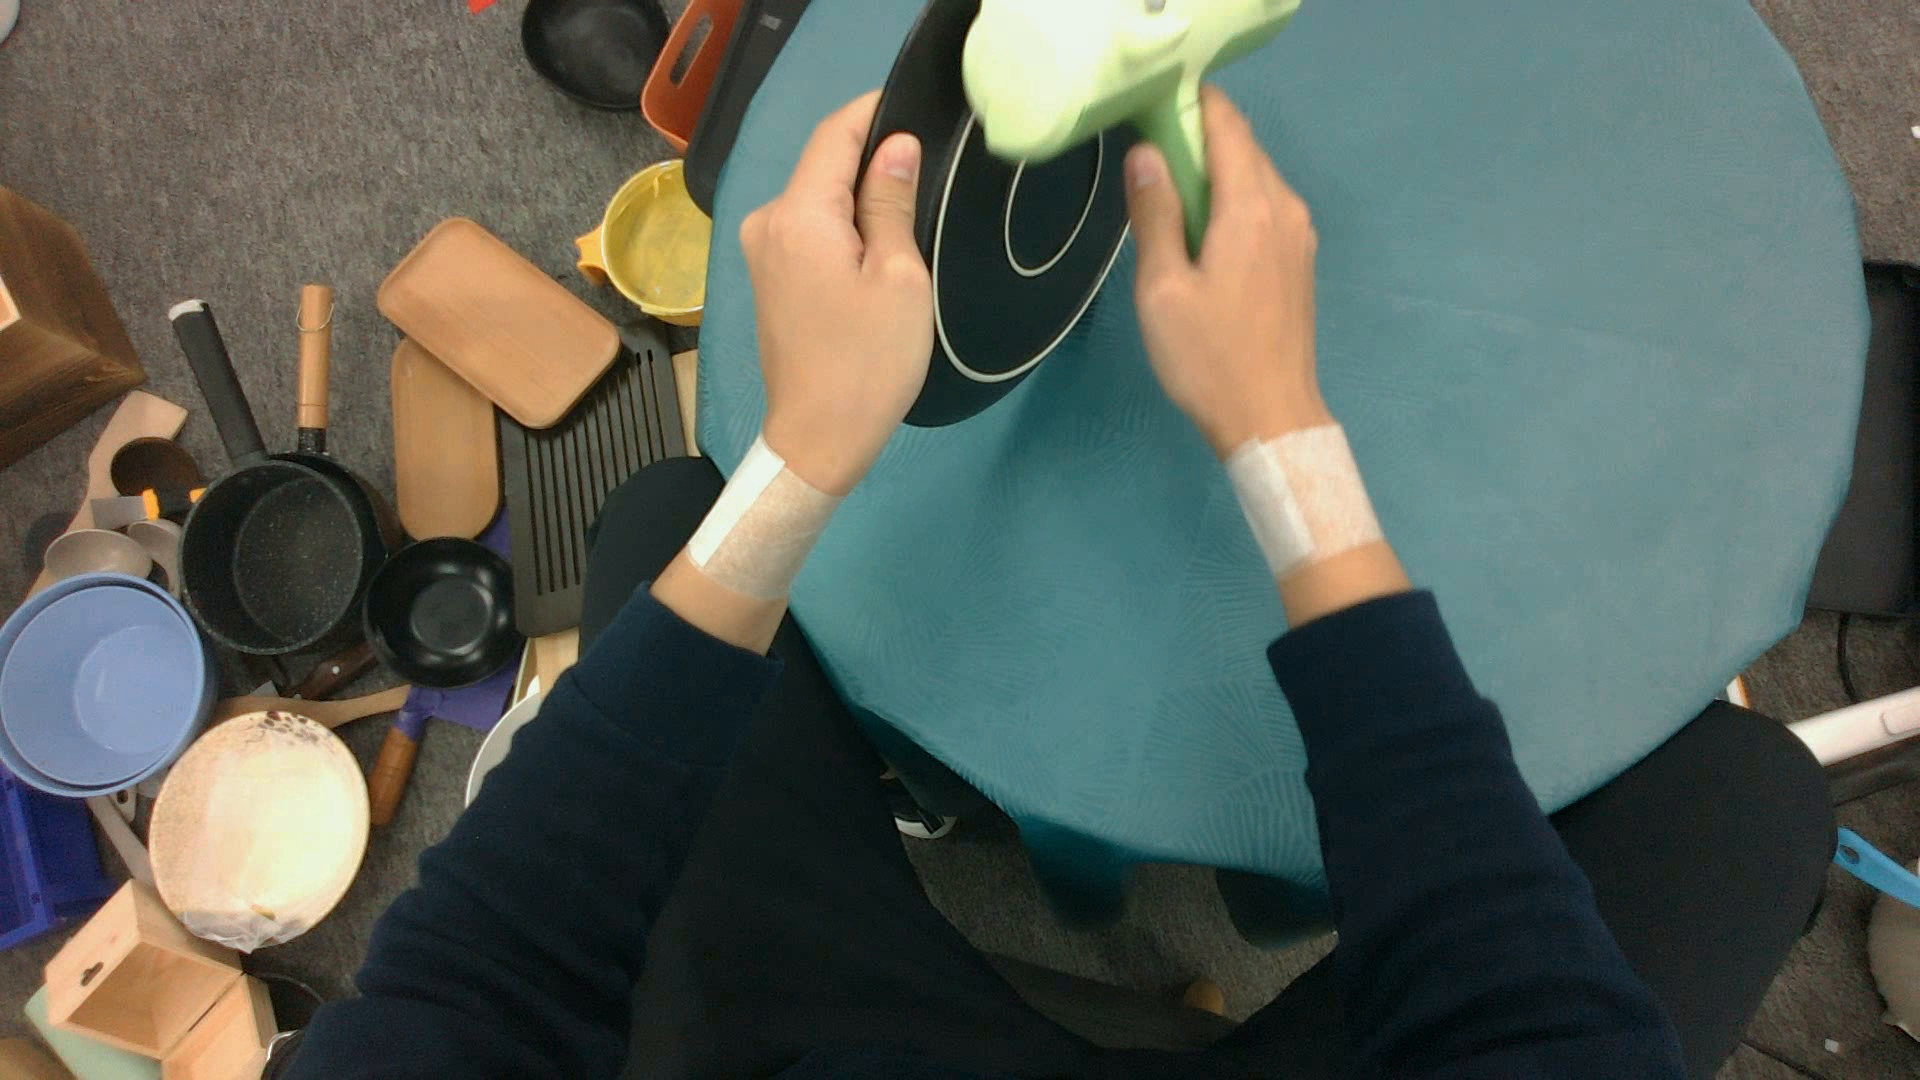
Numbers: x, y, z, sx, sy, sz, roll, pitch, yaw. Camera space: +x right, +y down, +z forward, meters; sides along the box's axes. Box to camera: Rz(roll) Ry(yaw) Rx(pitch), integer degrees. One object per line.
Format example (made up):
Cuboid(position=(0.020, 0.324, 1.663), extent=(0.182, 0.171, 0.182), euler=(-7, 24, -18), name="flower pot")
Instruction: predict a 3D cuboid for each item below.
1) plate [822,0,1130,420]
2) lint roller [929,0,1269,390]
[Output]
Cuboid(position=(0.023, -0.164, 0.616), extent=(0.023, 0.244, 0.245), euler=(25, 81, 25), name="plate")
Cuboid(position=(0.093, -0.152, 0.578), extent=(0.199, 0.082, 0.183), euler=(-41, 103, -42), name="lint roller")
